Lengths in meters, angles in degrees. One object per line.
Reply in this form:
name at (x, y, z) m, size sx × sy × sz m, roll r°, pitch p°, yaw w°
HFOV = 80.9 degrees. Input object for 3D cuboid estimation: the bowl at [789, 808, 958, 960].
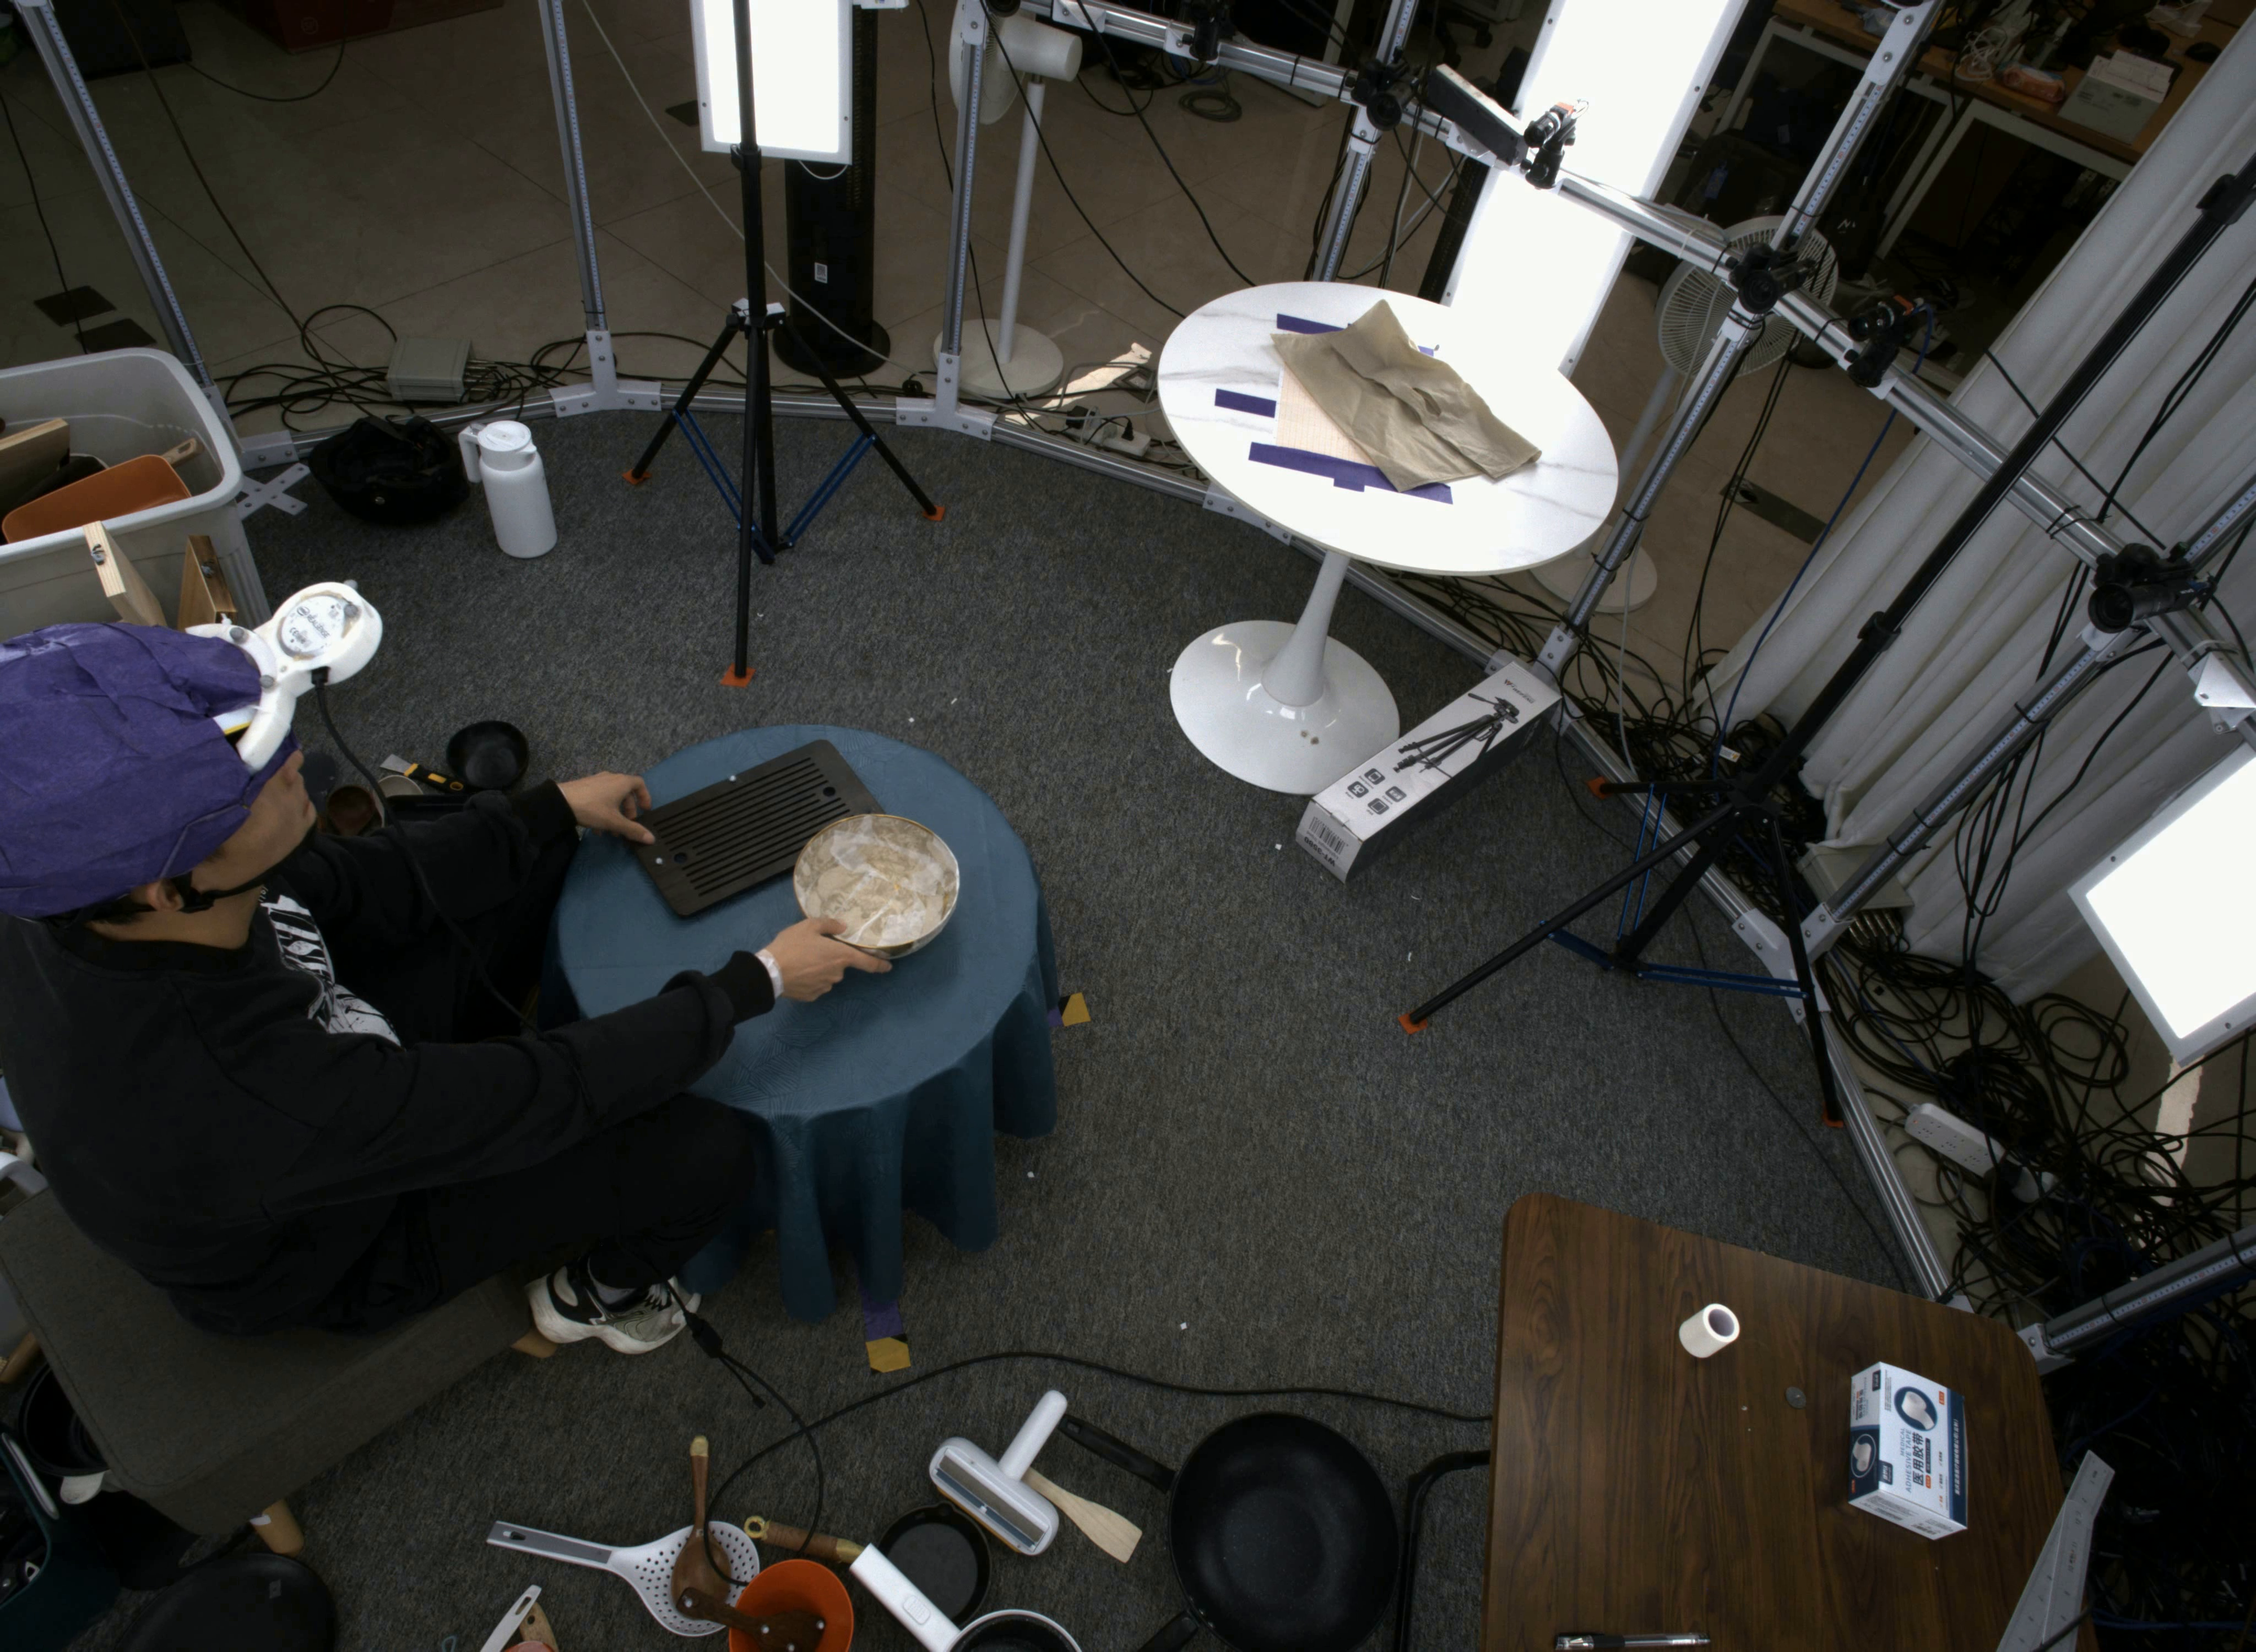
bowl at (-0.319, 0.085, 1.632) m, size 0.214 × 0.096 × 0.211 m, roll 7°, pitch 54°, yaw -9°

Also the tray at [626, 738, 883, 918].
tray at (-0.489, -0.003, 1.703) m, size 0.307 × 0.019 × 0.166 m, roll -28°, pitch 65°, yaw -30°
